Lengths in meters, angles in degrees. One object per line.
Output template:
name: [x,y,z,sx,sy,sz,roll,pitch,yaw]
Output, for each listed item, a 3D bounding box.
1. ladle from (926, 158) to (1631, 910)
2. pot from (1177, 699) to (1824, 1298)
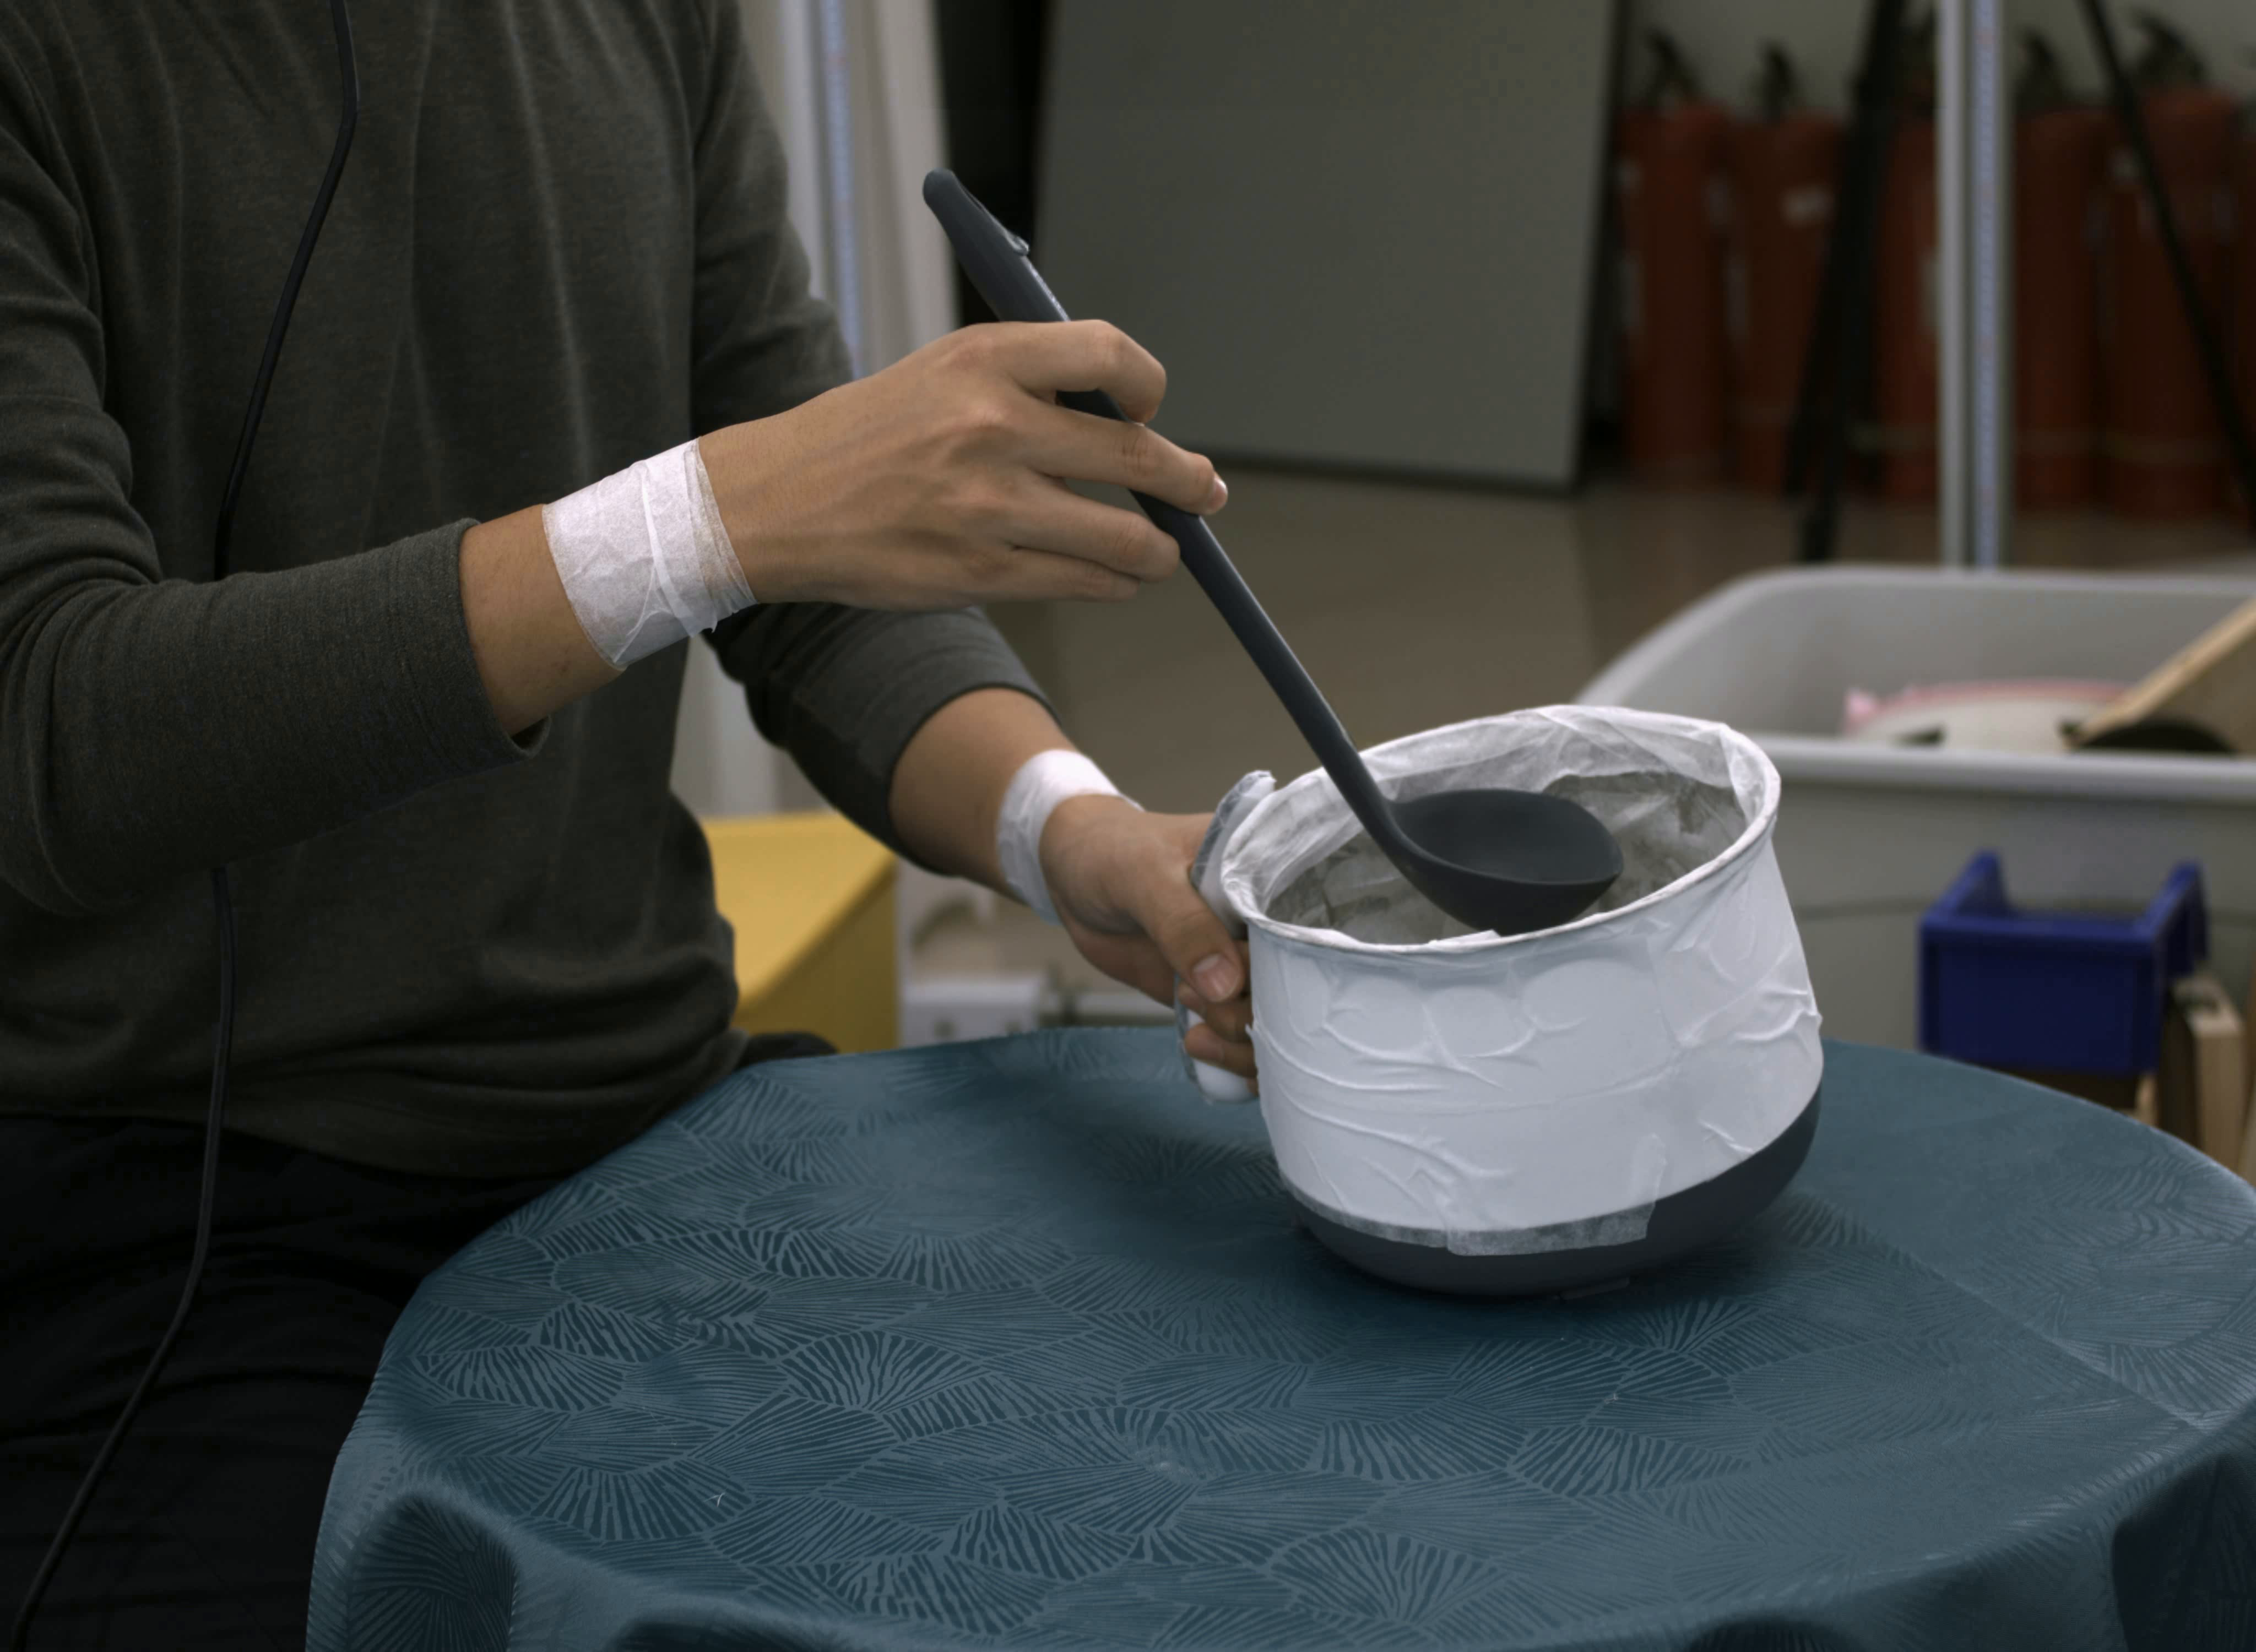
ladle: [0.048,-0.090,1.655,0.064,0.313,0.086,-35,17,3]
pot: [0.105,0.052,1.697,0.235,0.137,0.176,8,28,41]
